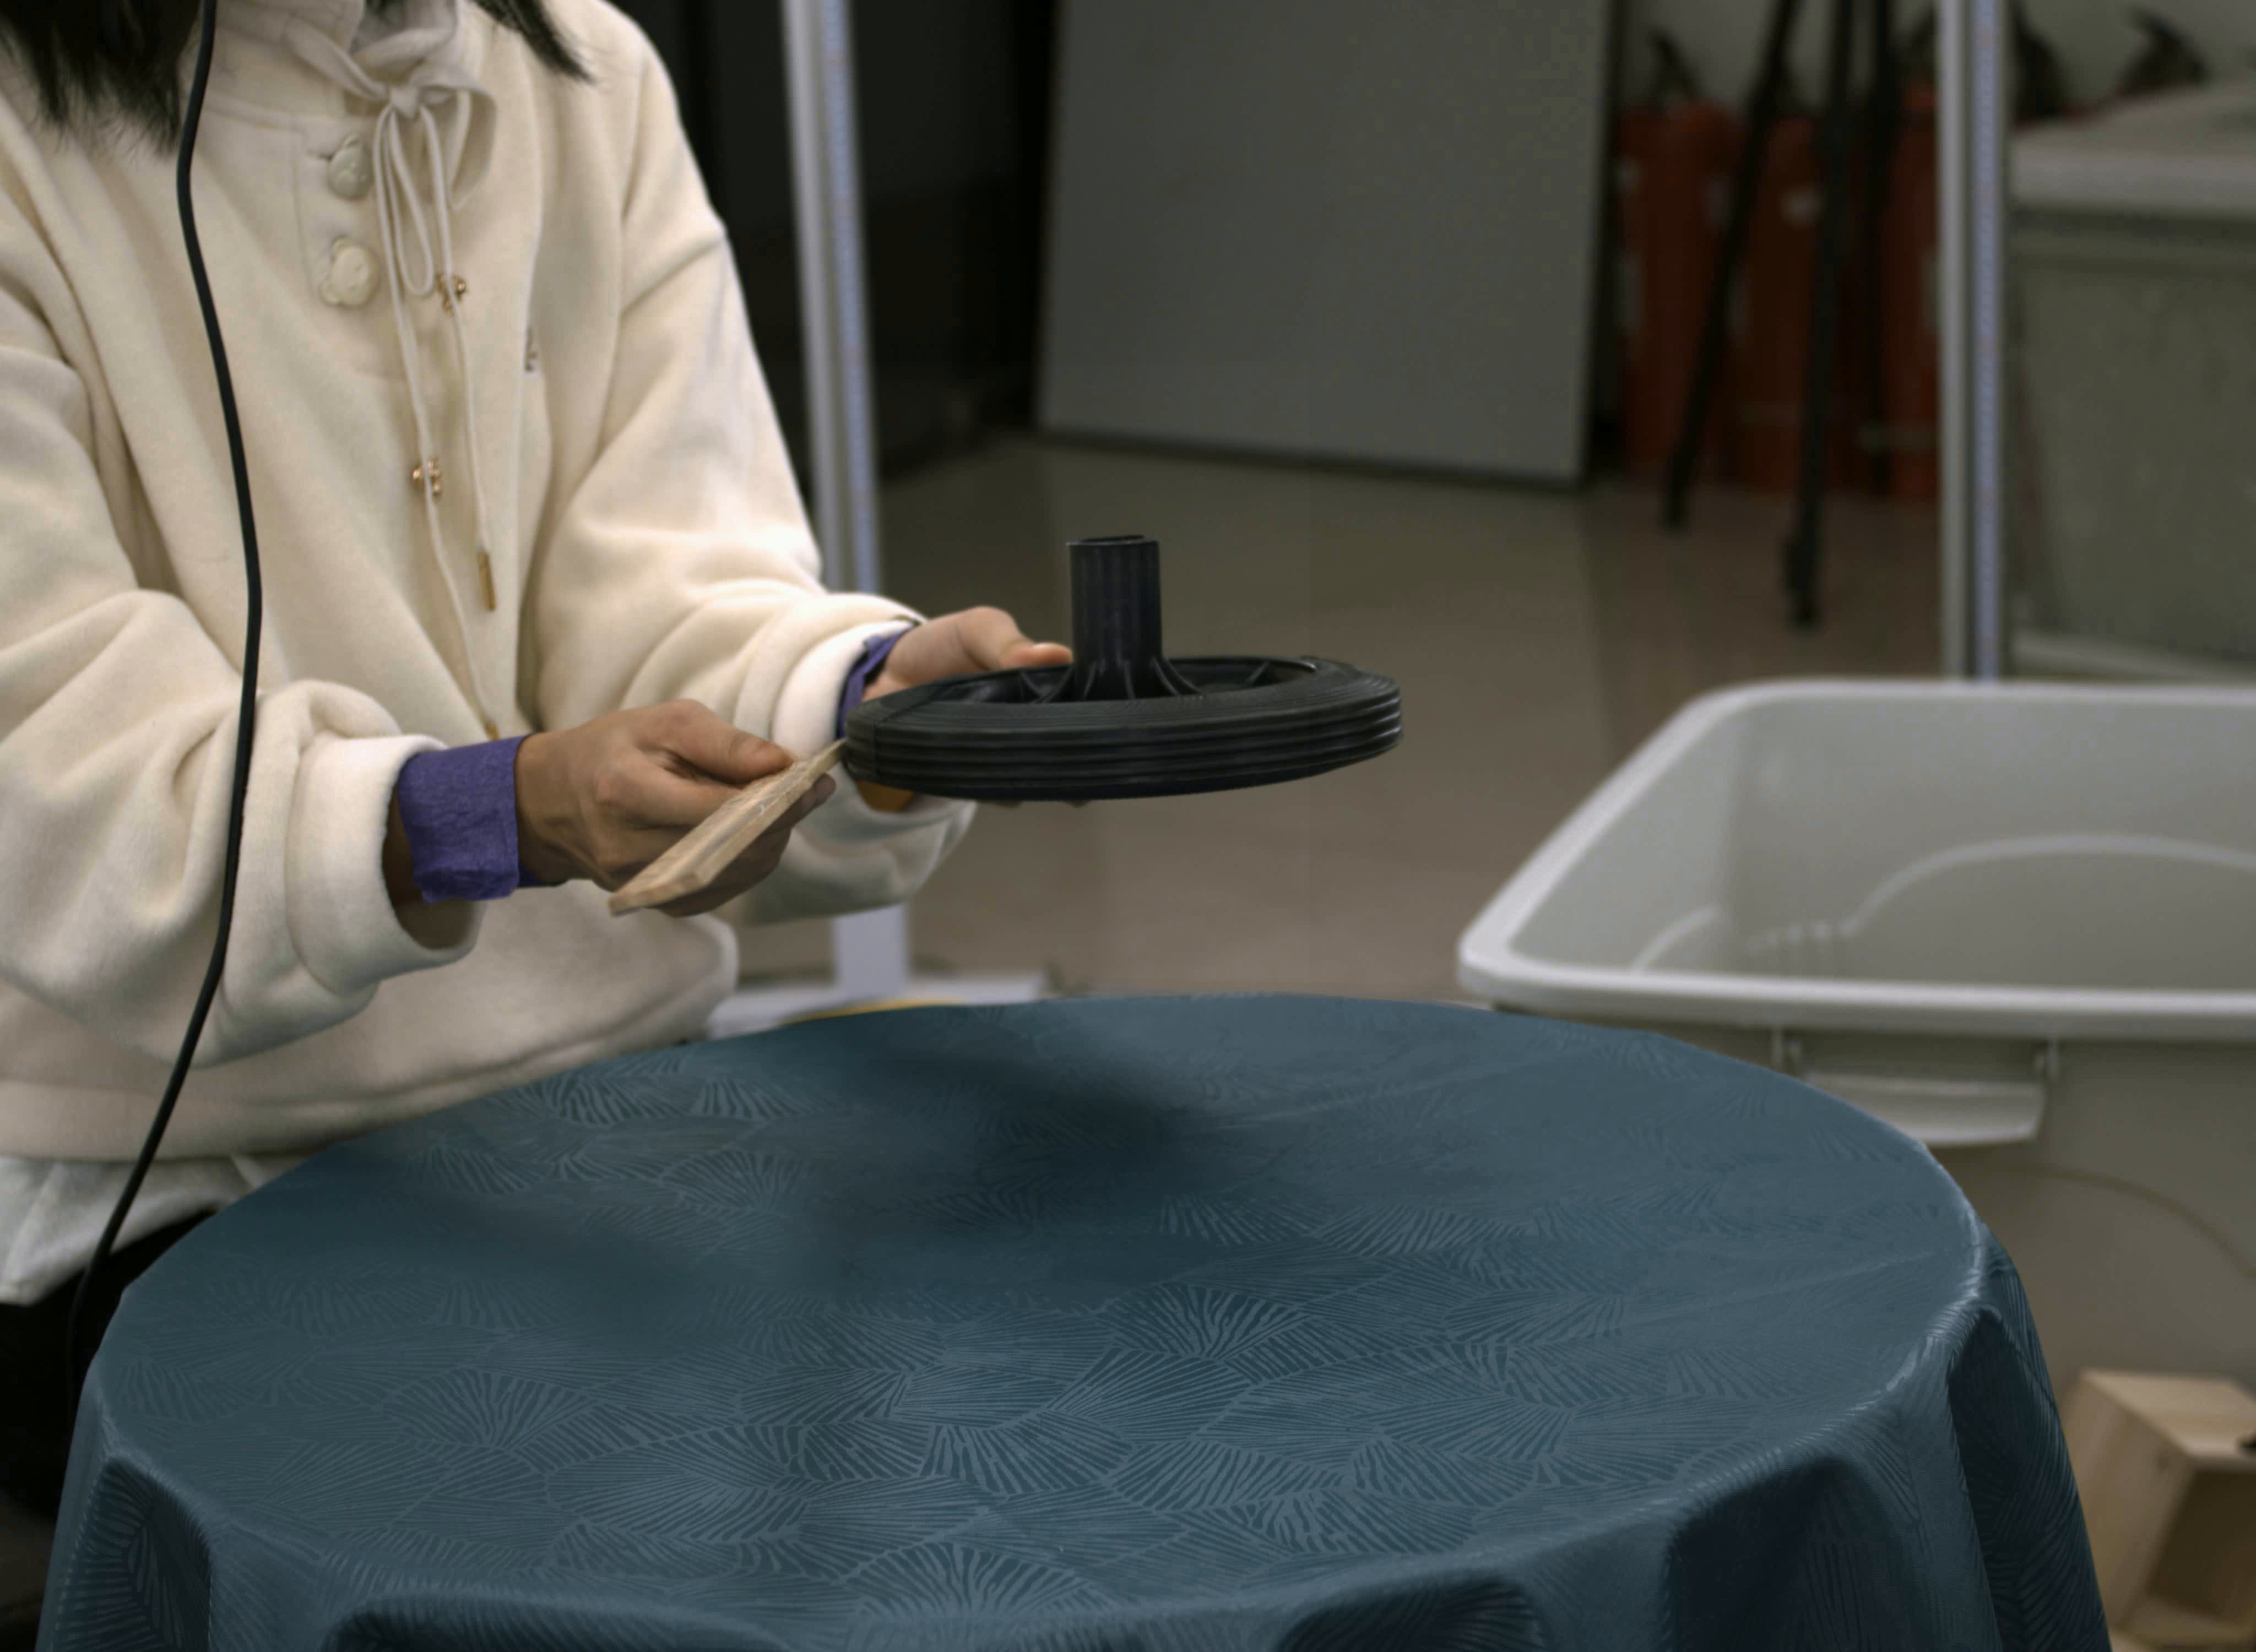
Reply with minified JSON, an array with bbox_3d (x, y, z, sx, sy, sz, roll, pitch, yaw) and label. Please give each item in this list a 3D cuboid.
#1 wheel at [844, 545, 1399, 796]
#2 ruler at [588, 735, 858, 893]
[{"bbox_3d":[-0.003,-0.053,1.796,0.186,0.080,0.189,-3,6,8],"label":"wheel"},{"bbox_3d":[-0.113,-0.007,1.586,0.026,0.006,0.499,-20,3,4],"label":"ruler"}]
